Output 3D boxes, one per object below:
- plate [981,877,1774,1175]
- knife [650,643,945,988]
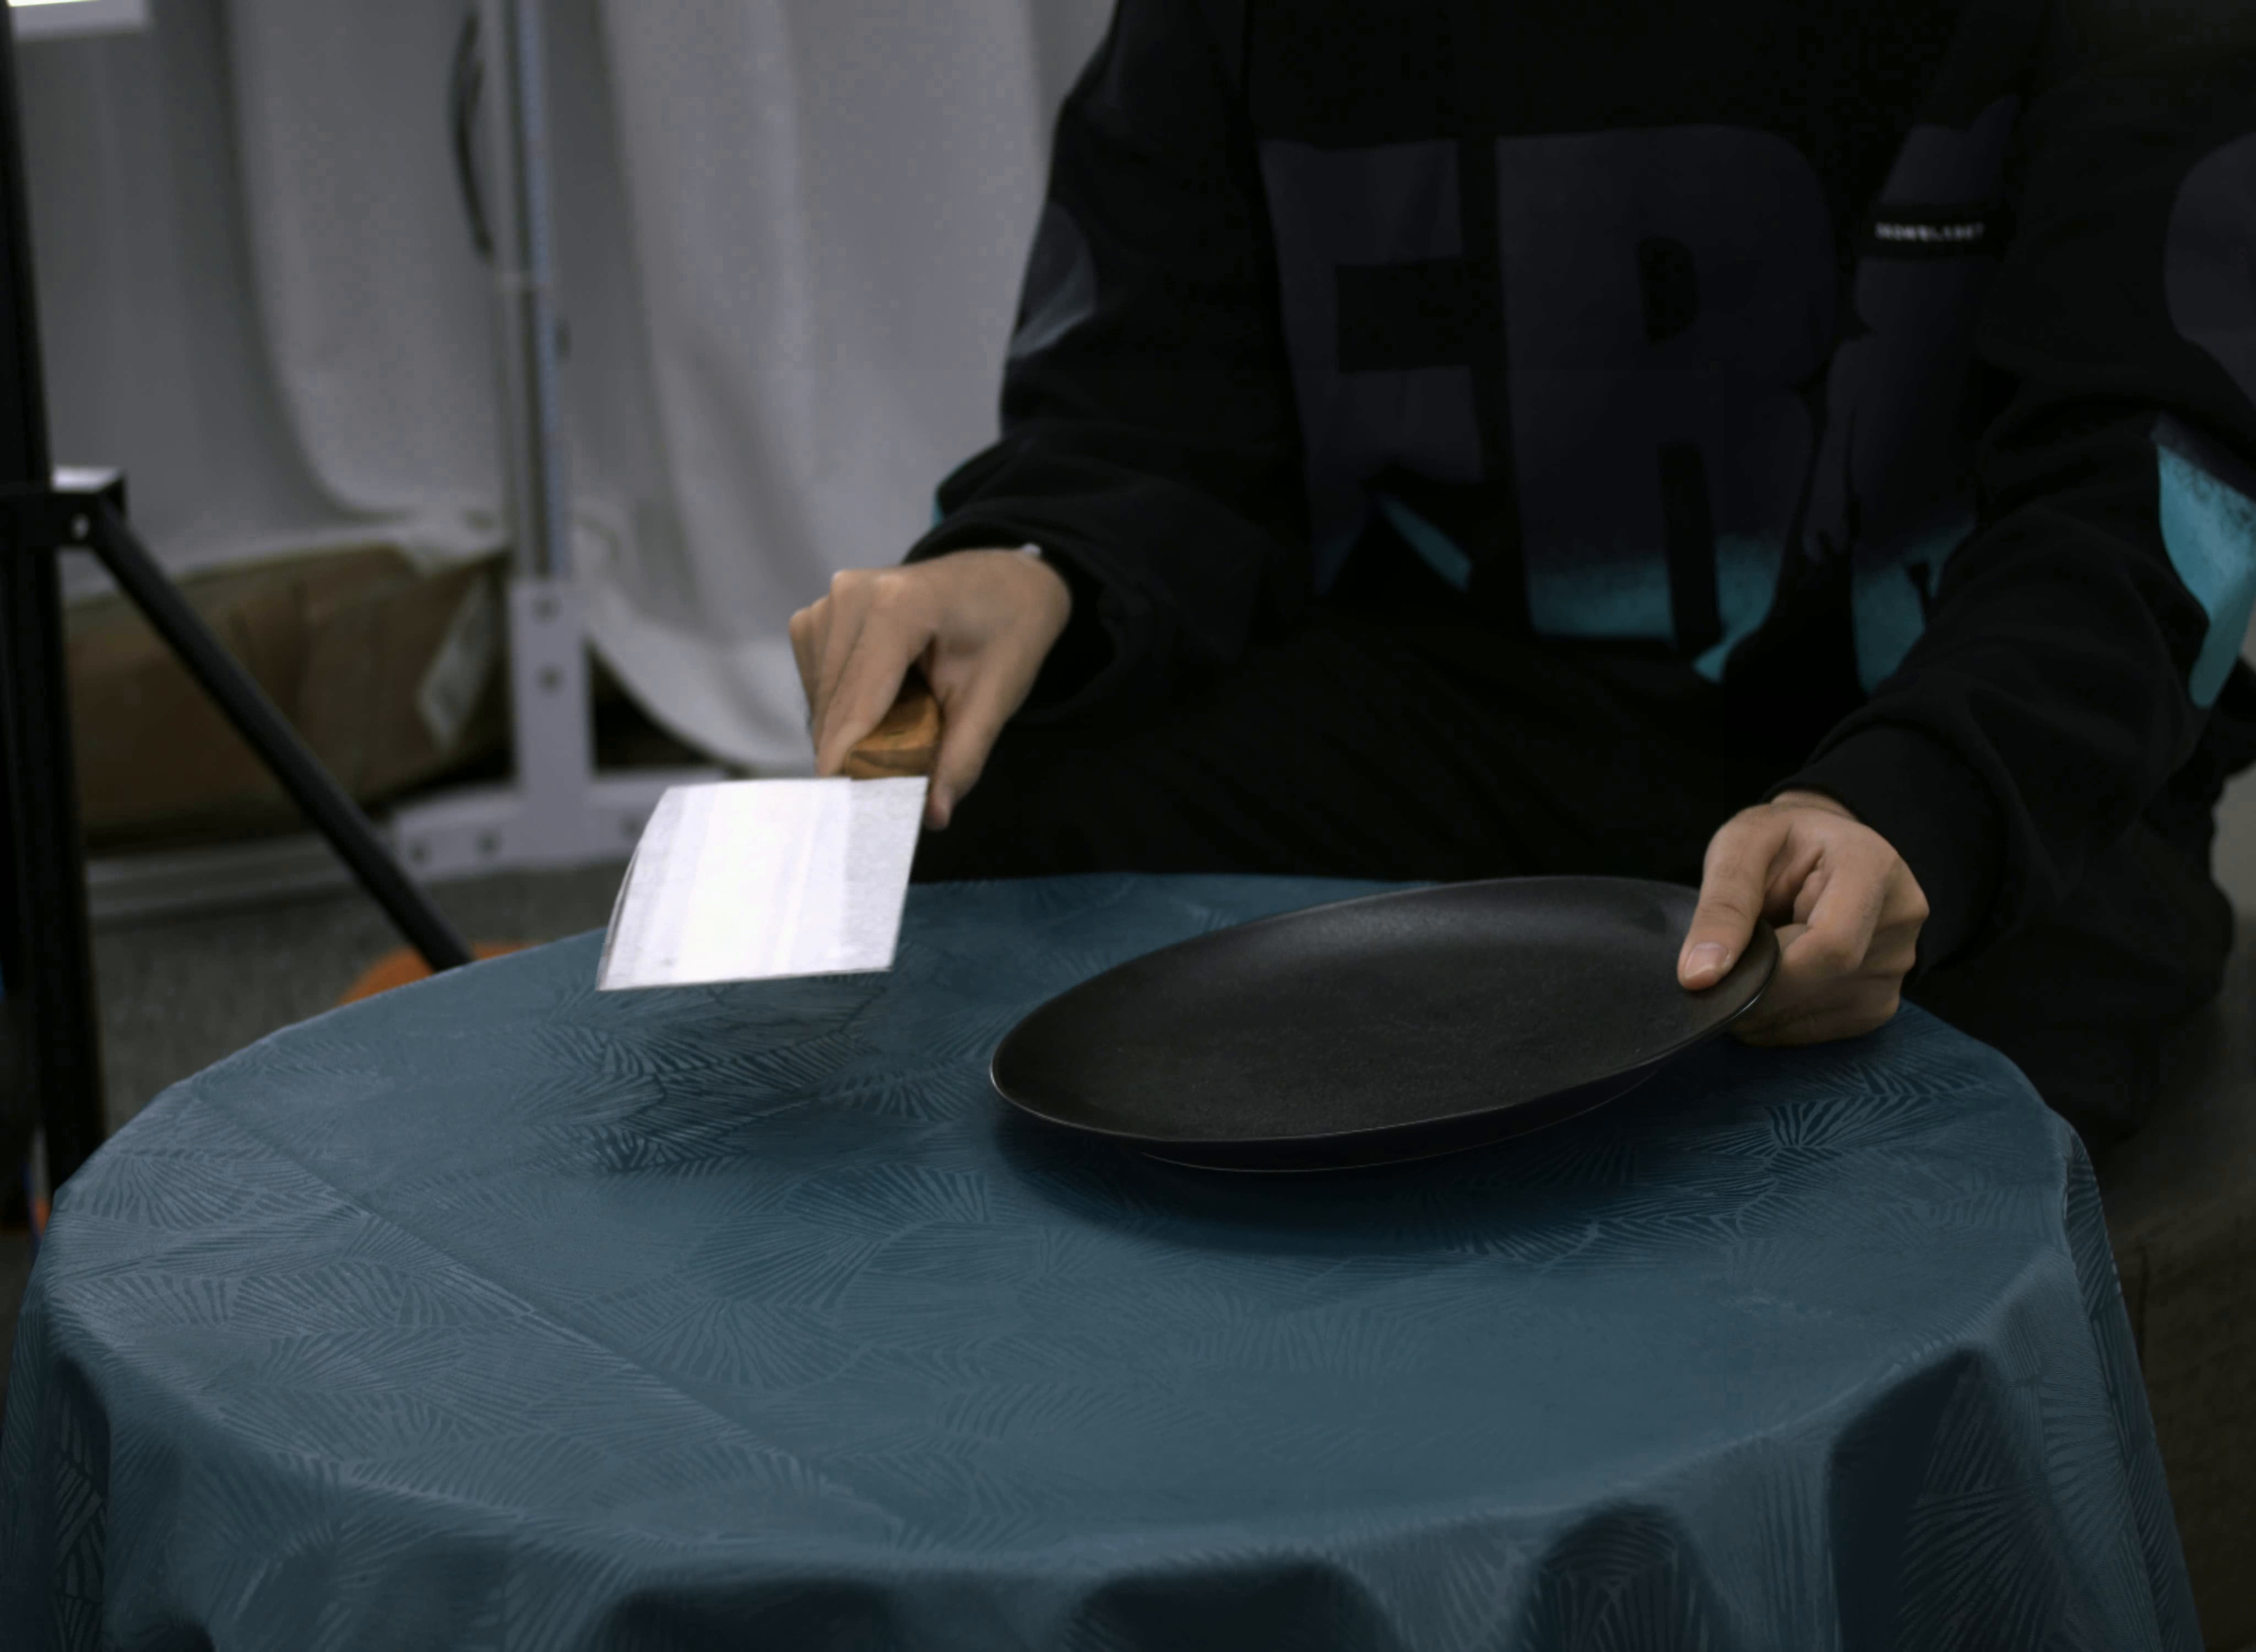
[{"bbox_3d":[0.077,0.064,1.616,0.243,0.023,0.245,-10,15,1],"label":"plate"},{"bbox_3d":[-0.107,-0.004,1.737,0.093,0.021,0.307,-4,19,3],"label":"knife"}]
